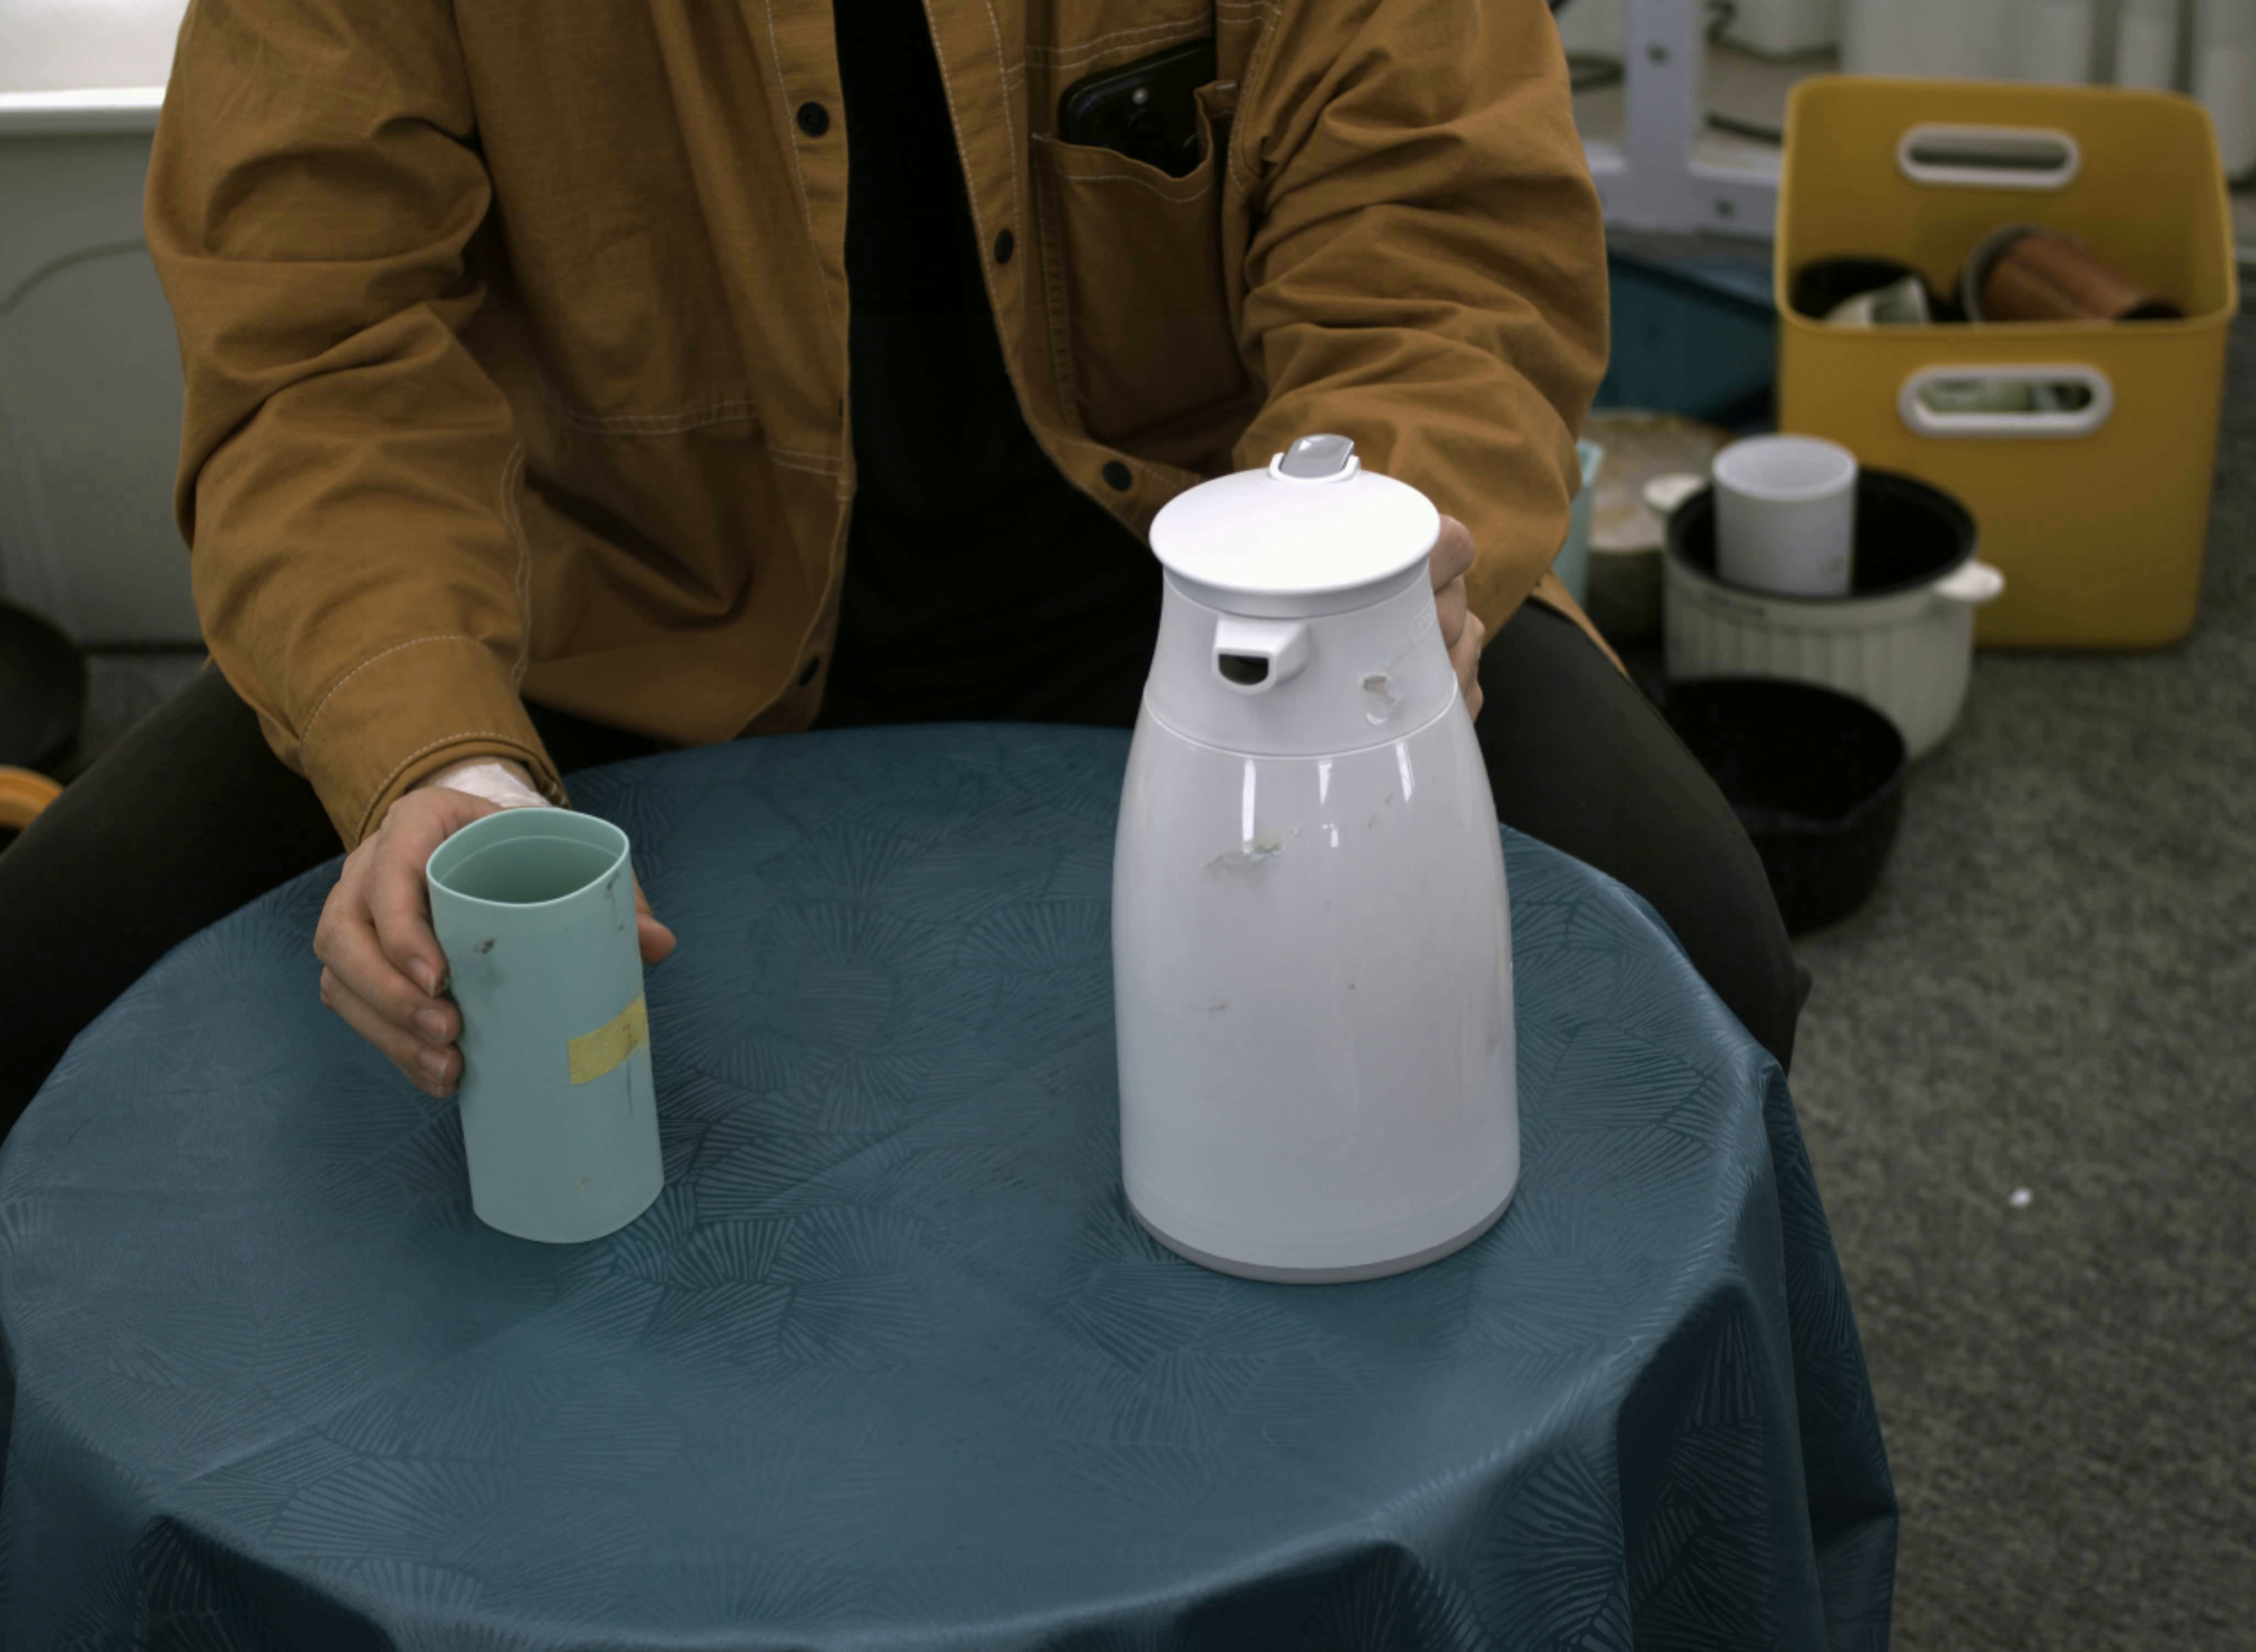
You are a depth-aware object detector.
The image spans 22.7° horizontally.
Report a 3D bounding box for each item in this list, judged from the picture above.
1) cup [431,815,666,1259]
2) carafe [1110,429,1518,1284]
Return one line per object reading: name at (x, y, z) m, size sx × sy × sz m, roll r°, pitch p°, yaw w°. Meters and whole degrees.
cup at (-0.190, 0.069, 1.845) m, size 0.066 × 0.131 × 0.068 m, roll -2°, pitch 27°, yaw 2°
carafe at (0.061, -0.001, 1.824) m, size 0.131 × 0.246 × 0.170 m, roll 4°, pitch 27°, yaw 15°
